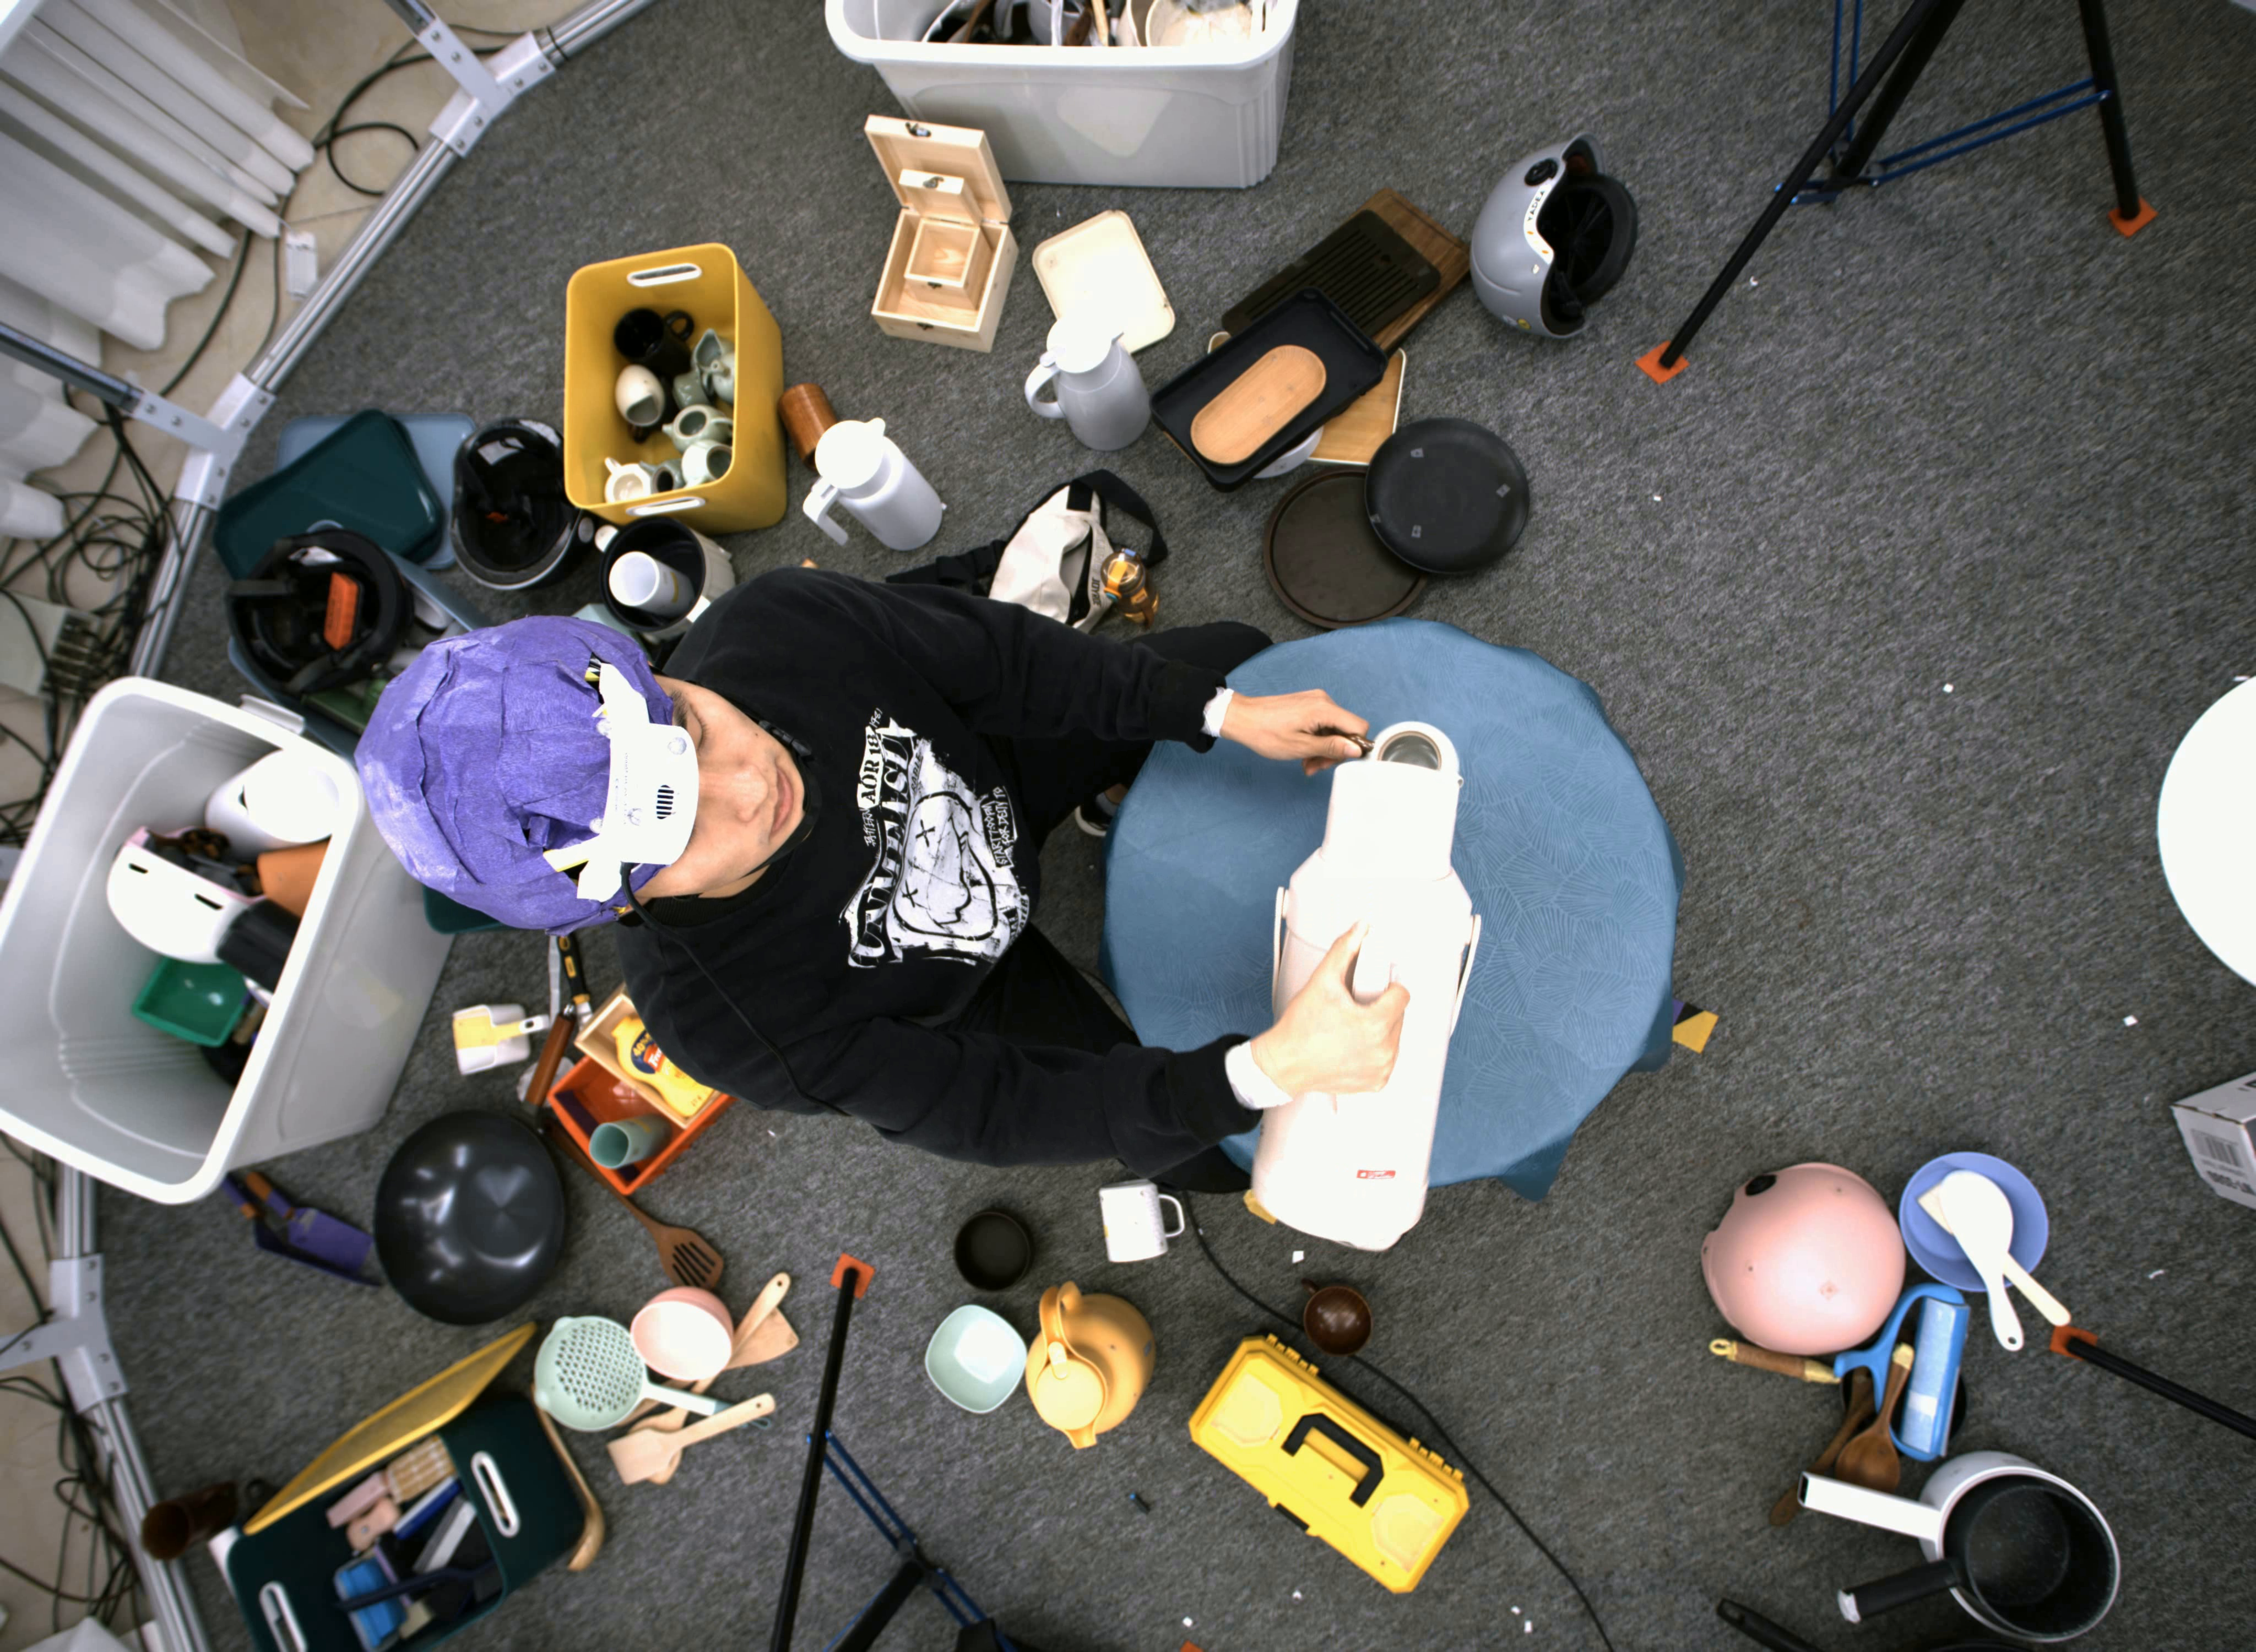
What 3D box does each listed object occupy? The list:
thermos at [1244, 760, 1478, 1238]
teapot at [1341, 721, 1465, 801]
[{"bbox_3d":[0.202,0.152,1.207,0.175,0.203,0.412,10,108,9],"label":"thermos"},{"bbox_3d":[0.264,-0.060,1.321,0.128,0.059,0.092,23,91,18],"label":"teapot"}]
